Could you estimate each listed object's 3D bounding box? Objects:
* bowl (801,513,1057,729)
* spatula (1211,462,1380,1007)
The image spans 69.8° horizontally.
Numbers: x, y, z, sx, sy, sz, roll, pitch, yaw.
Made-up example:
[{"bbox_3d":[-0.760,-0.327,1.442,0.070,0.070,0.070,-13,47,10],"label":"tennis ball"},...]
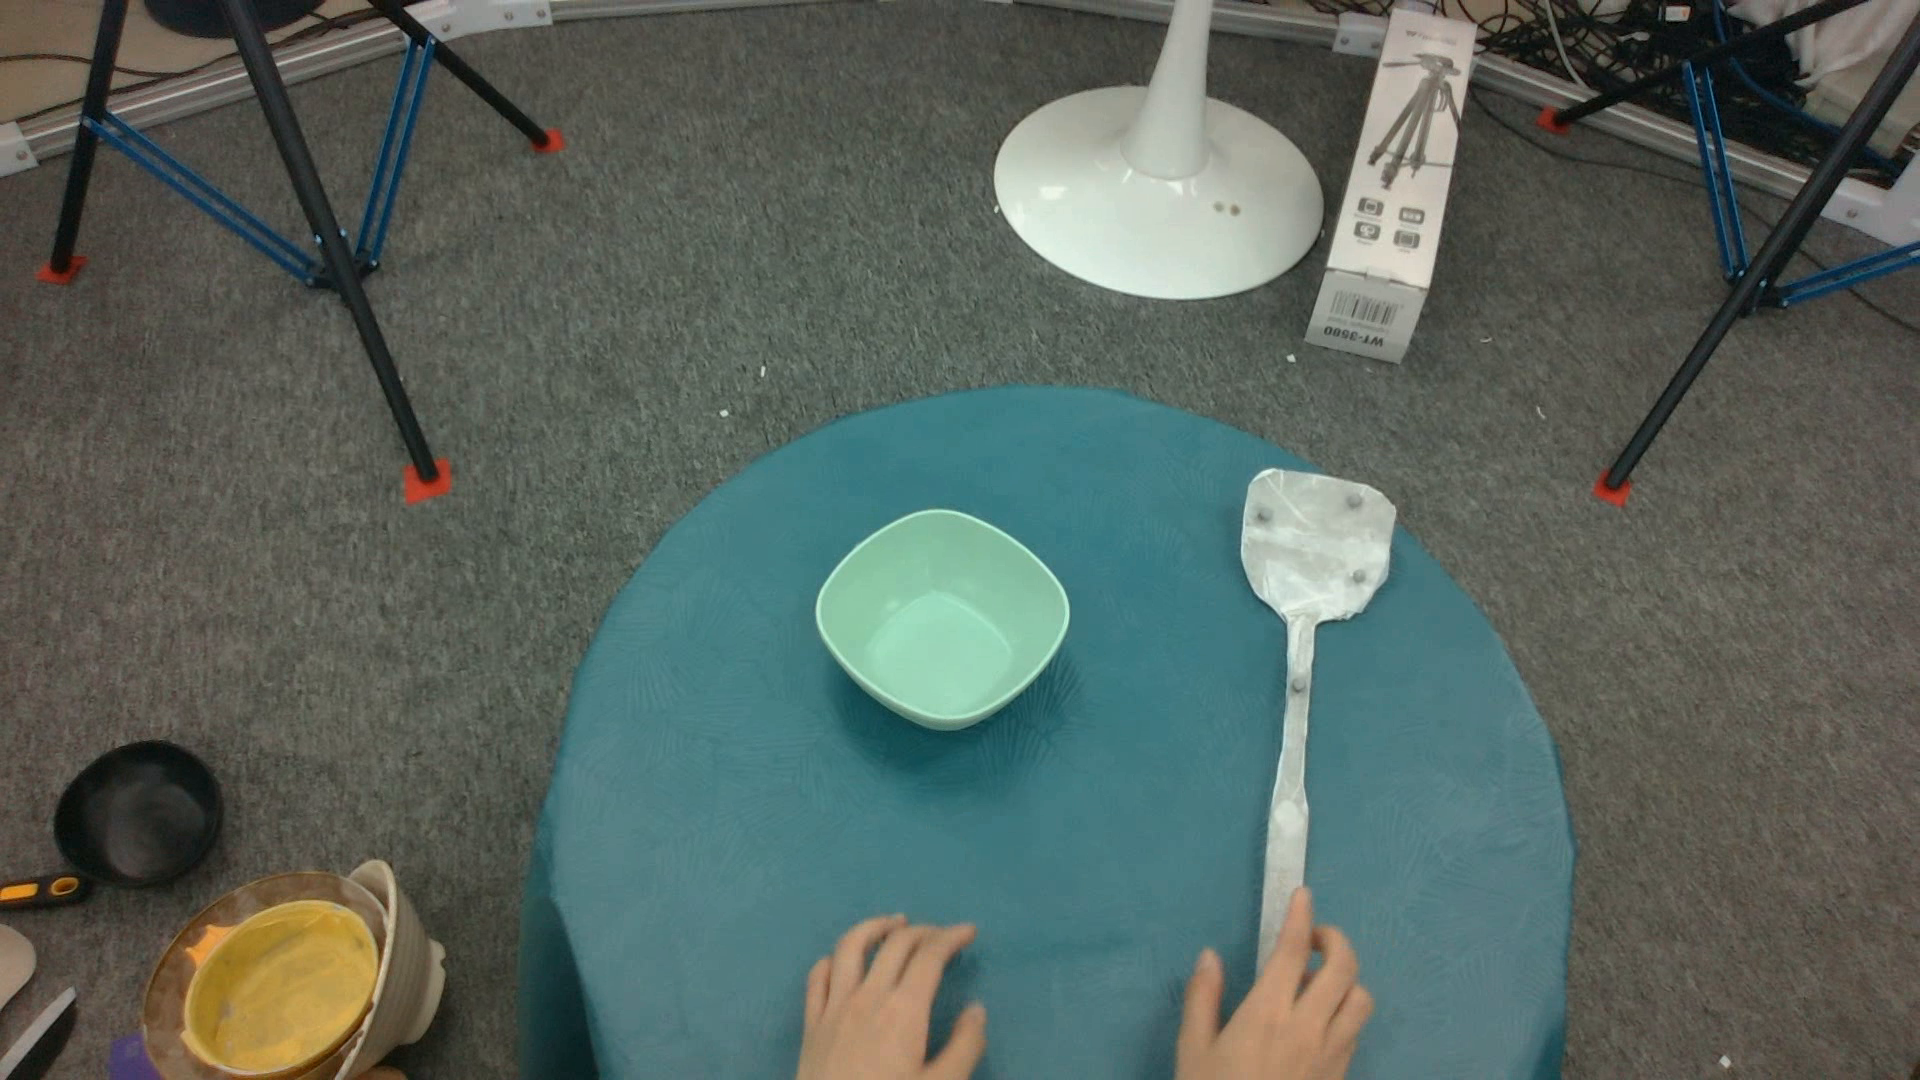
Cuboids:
[{"bbox_3d":[-0.019,0.058,0.833,0.151,0.058,0.152,3,49,-3],"label":"bowl"},{"bbox_3d":[0.191,0.102,0.829,0.098,0.044,0.367,15,52,4],"label":"spatula"}]
